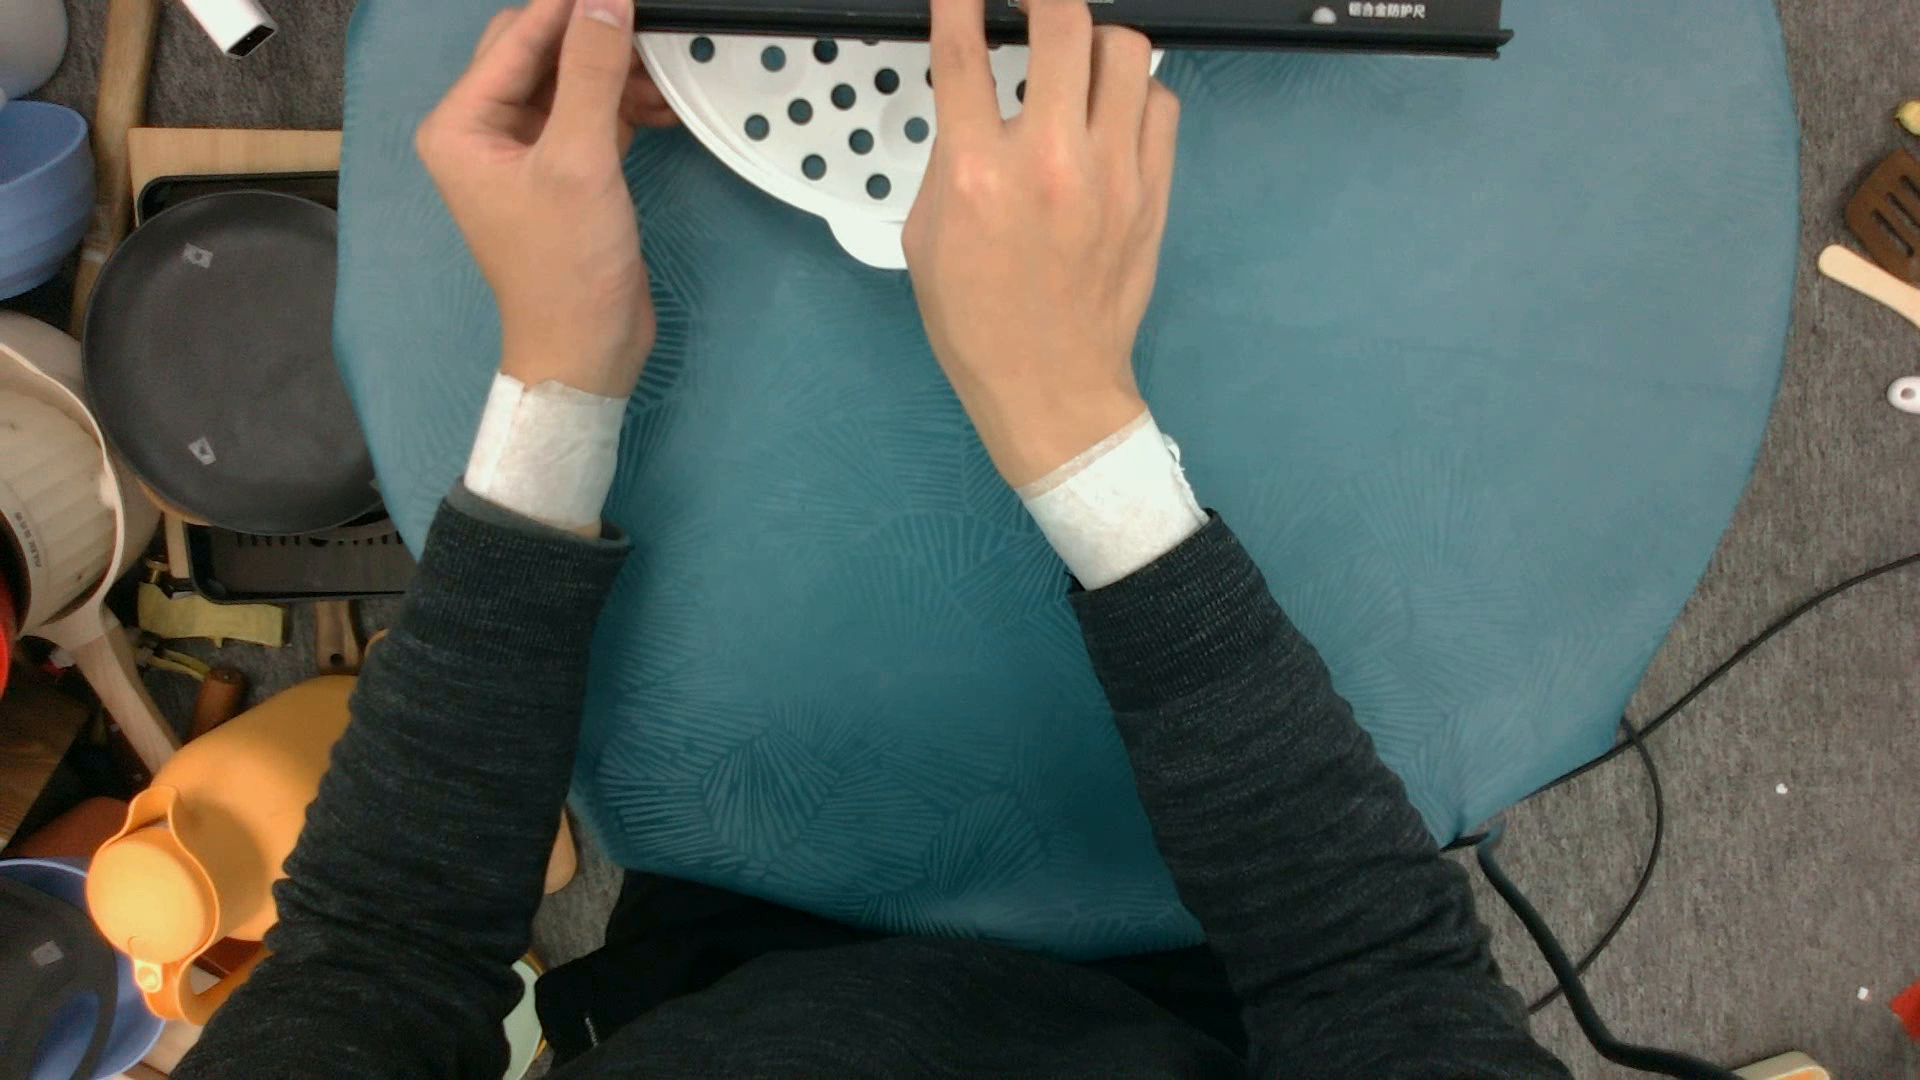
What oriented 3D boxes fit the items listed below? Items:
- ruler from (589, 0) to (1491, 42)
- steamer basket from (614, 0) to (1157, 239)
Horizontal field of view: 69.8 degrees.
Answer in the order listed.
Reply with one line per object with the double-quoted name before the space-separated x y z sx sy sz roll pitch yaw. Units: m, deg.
"ruler" 0.029 -0.196 0.471 0.312 0.017 0.039 1 99 -3
"steamer basket" -0.027 -0.226 0.502 0.202 0.069 0.230 -6 100 -2
